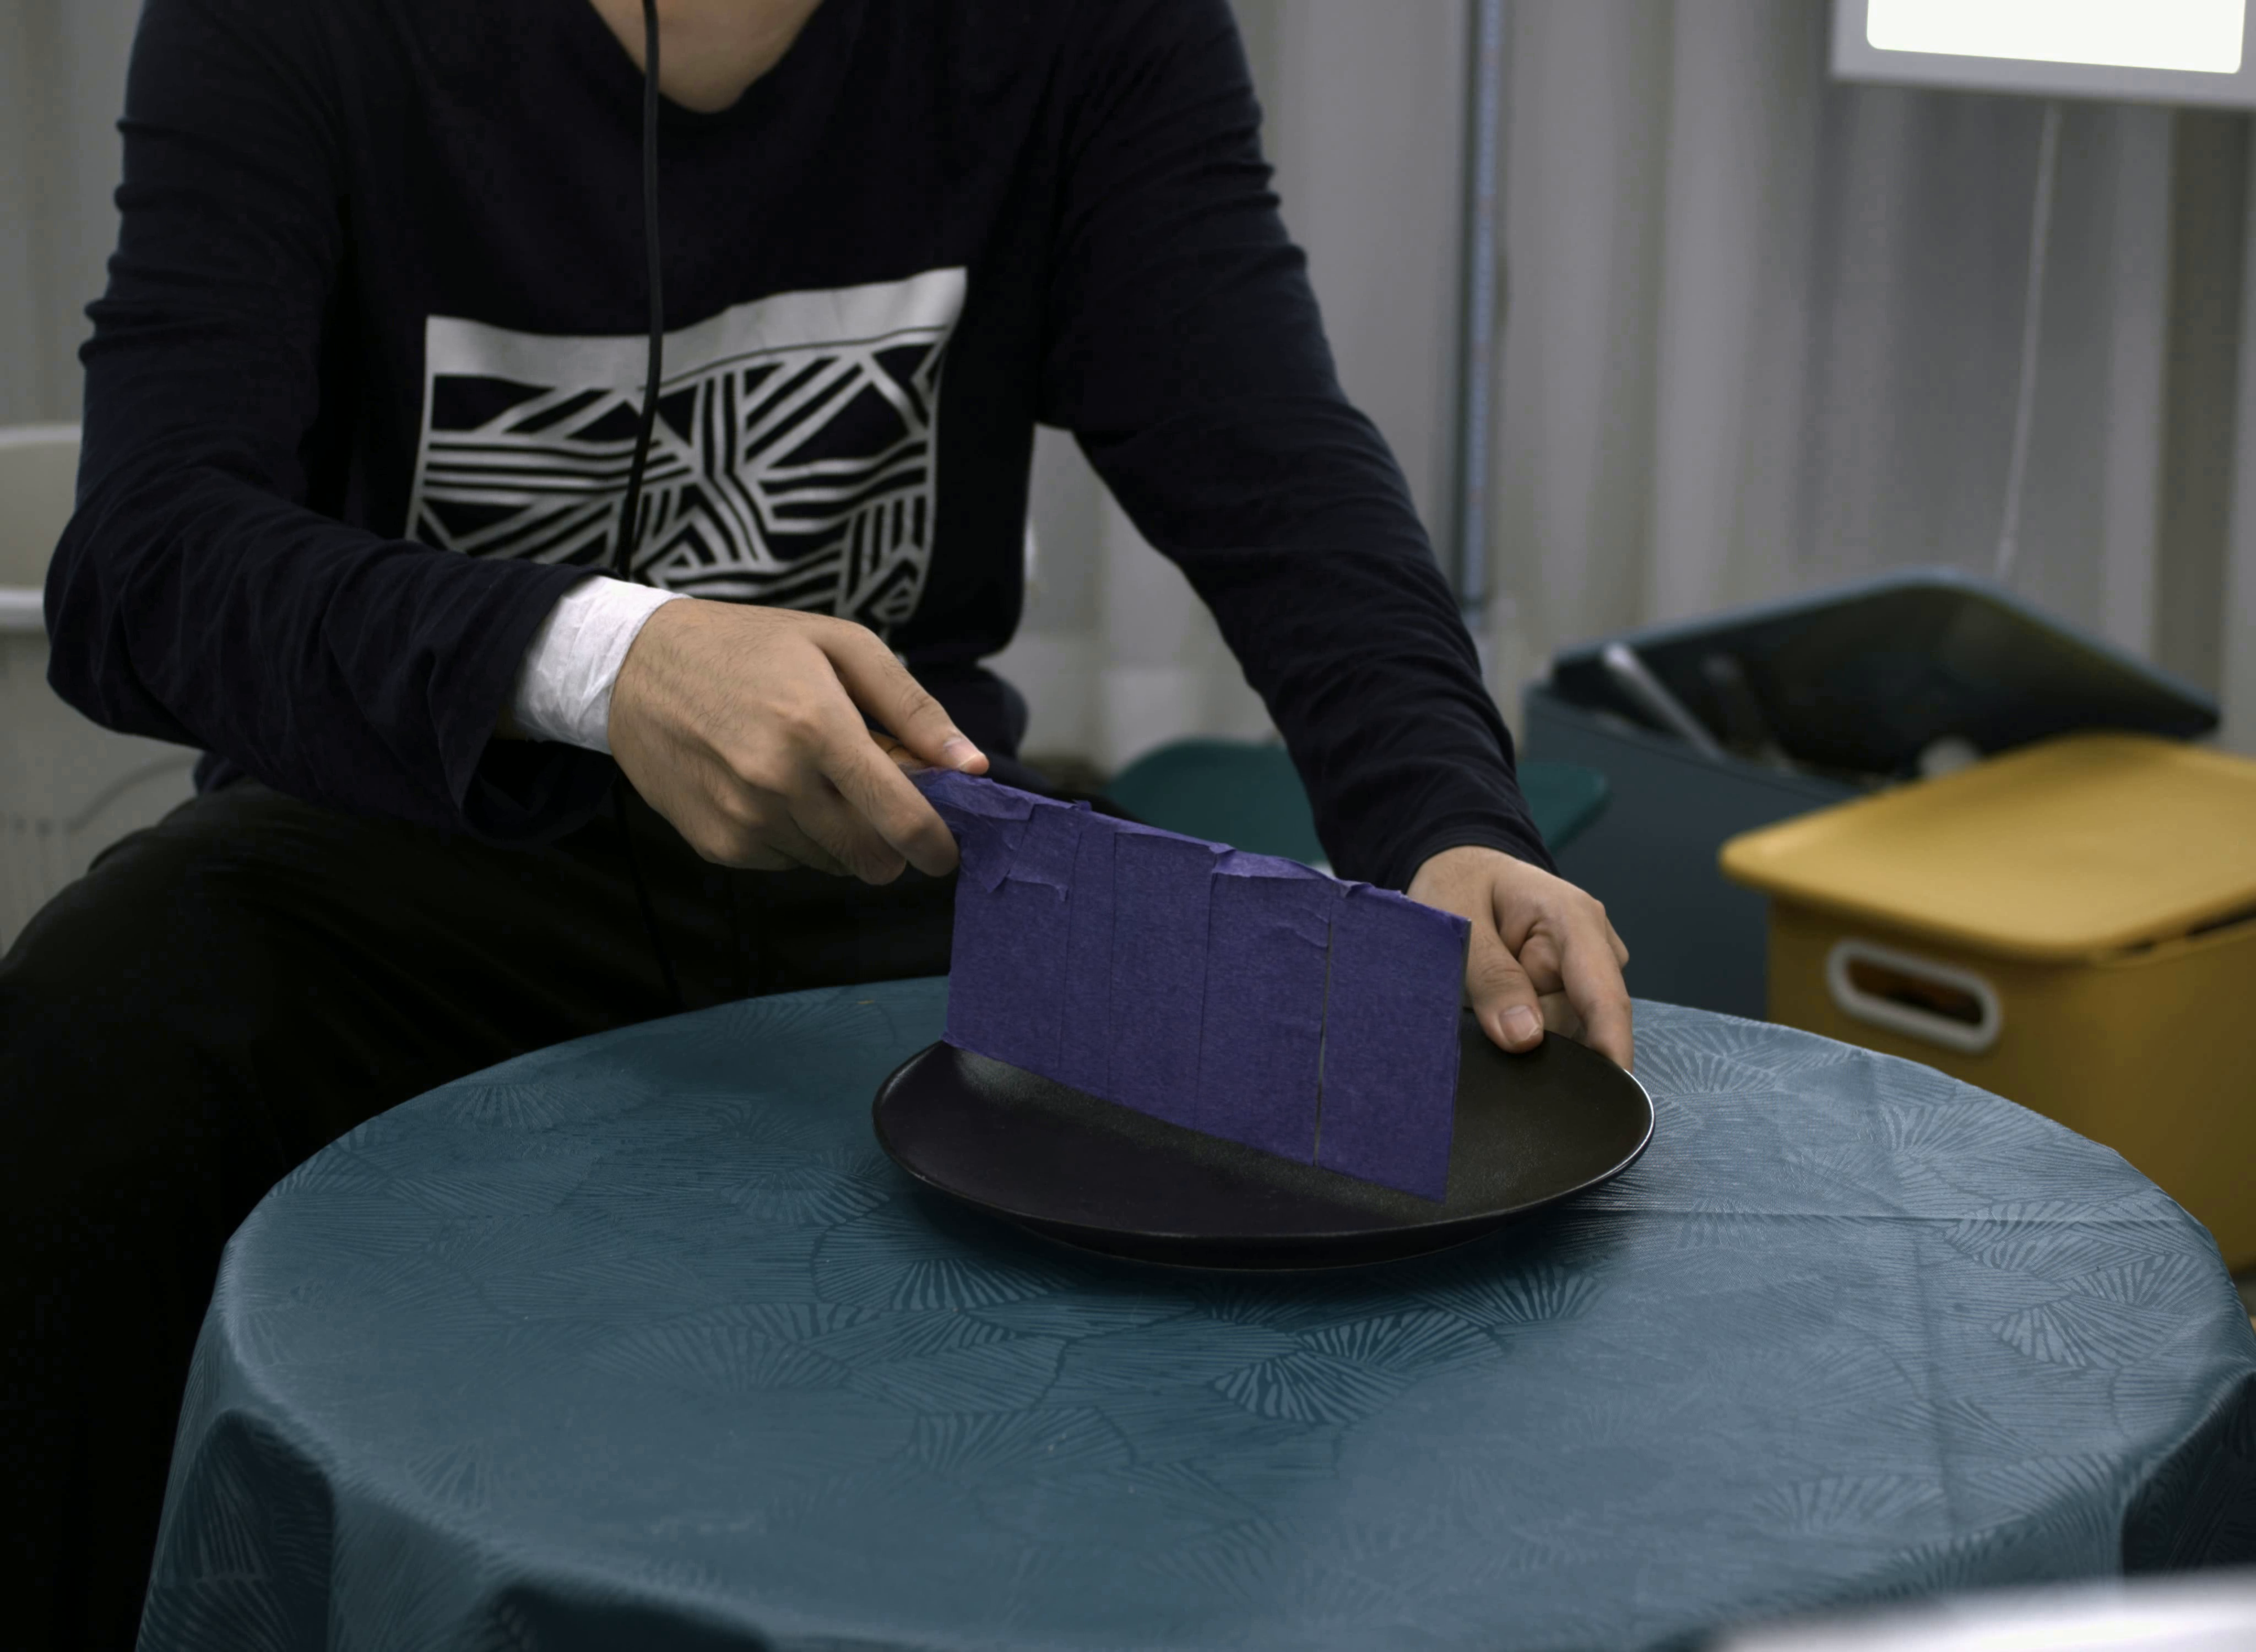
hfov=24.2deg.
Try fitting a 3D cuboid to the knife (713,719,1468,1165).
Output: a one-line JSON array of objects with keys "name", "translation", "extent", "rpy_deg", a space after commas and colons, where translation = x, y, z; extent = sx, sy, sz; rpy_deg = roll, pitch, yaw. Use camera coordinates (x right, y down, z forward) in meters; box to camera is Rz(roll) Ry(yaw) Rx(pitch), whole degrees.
[{"name": "knife", "translation": [-0.019, 0.036, 1.653], "extent": [0.311, 0.104, 0.032], "rpy_deg": [15, 15, 41]}]

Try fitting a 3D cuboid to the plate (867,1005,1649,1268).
[{"name": "plate", "translation": [0.040, 0.096, 1.639], "extent": [0.243, 0.023, 0.243], "rpy_deg": [0, 16, 0]}]
